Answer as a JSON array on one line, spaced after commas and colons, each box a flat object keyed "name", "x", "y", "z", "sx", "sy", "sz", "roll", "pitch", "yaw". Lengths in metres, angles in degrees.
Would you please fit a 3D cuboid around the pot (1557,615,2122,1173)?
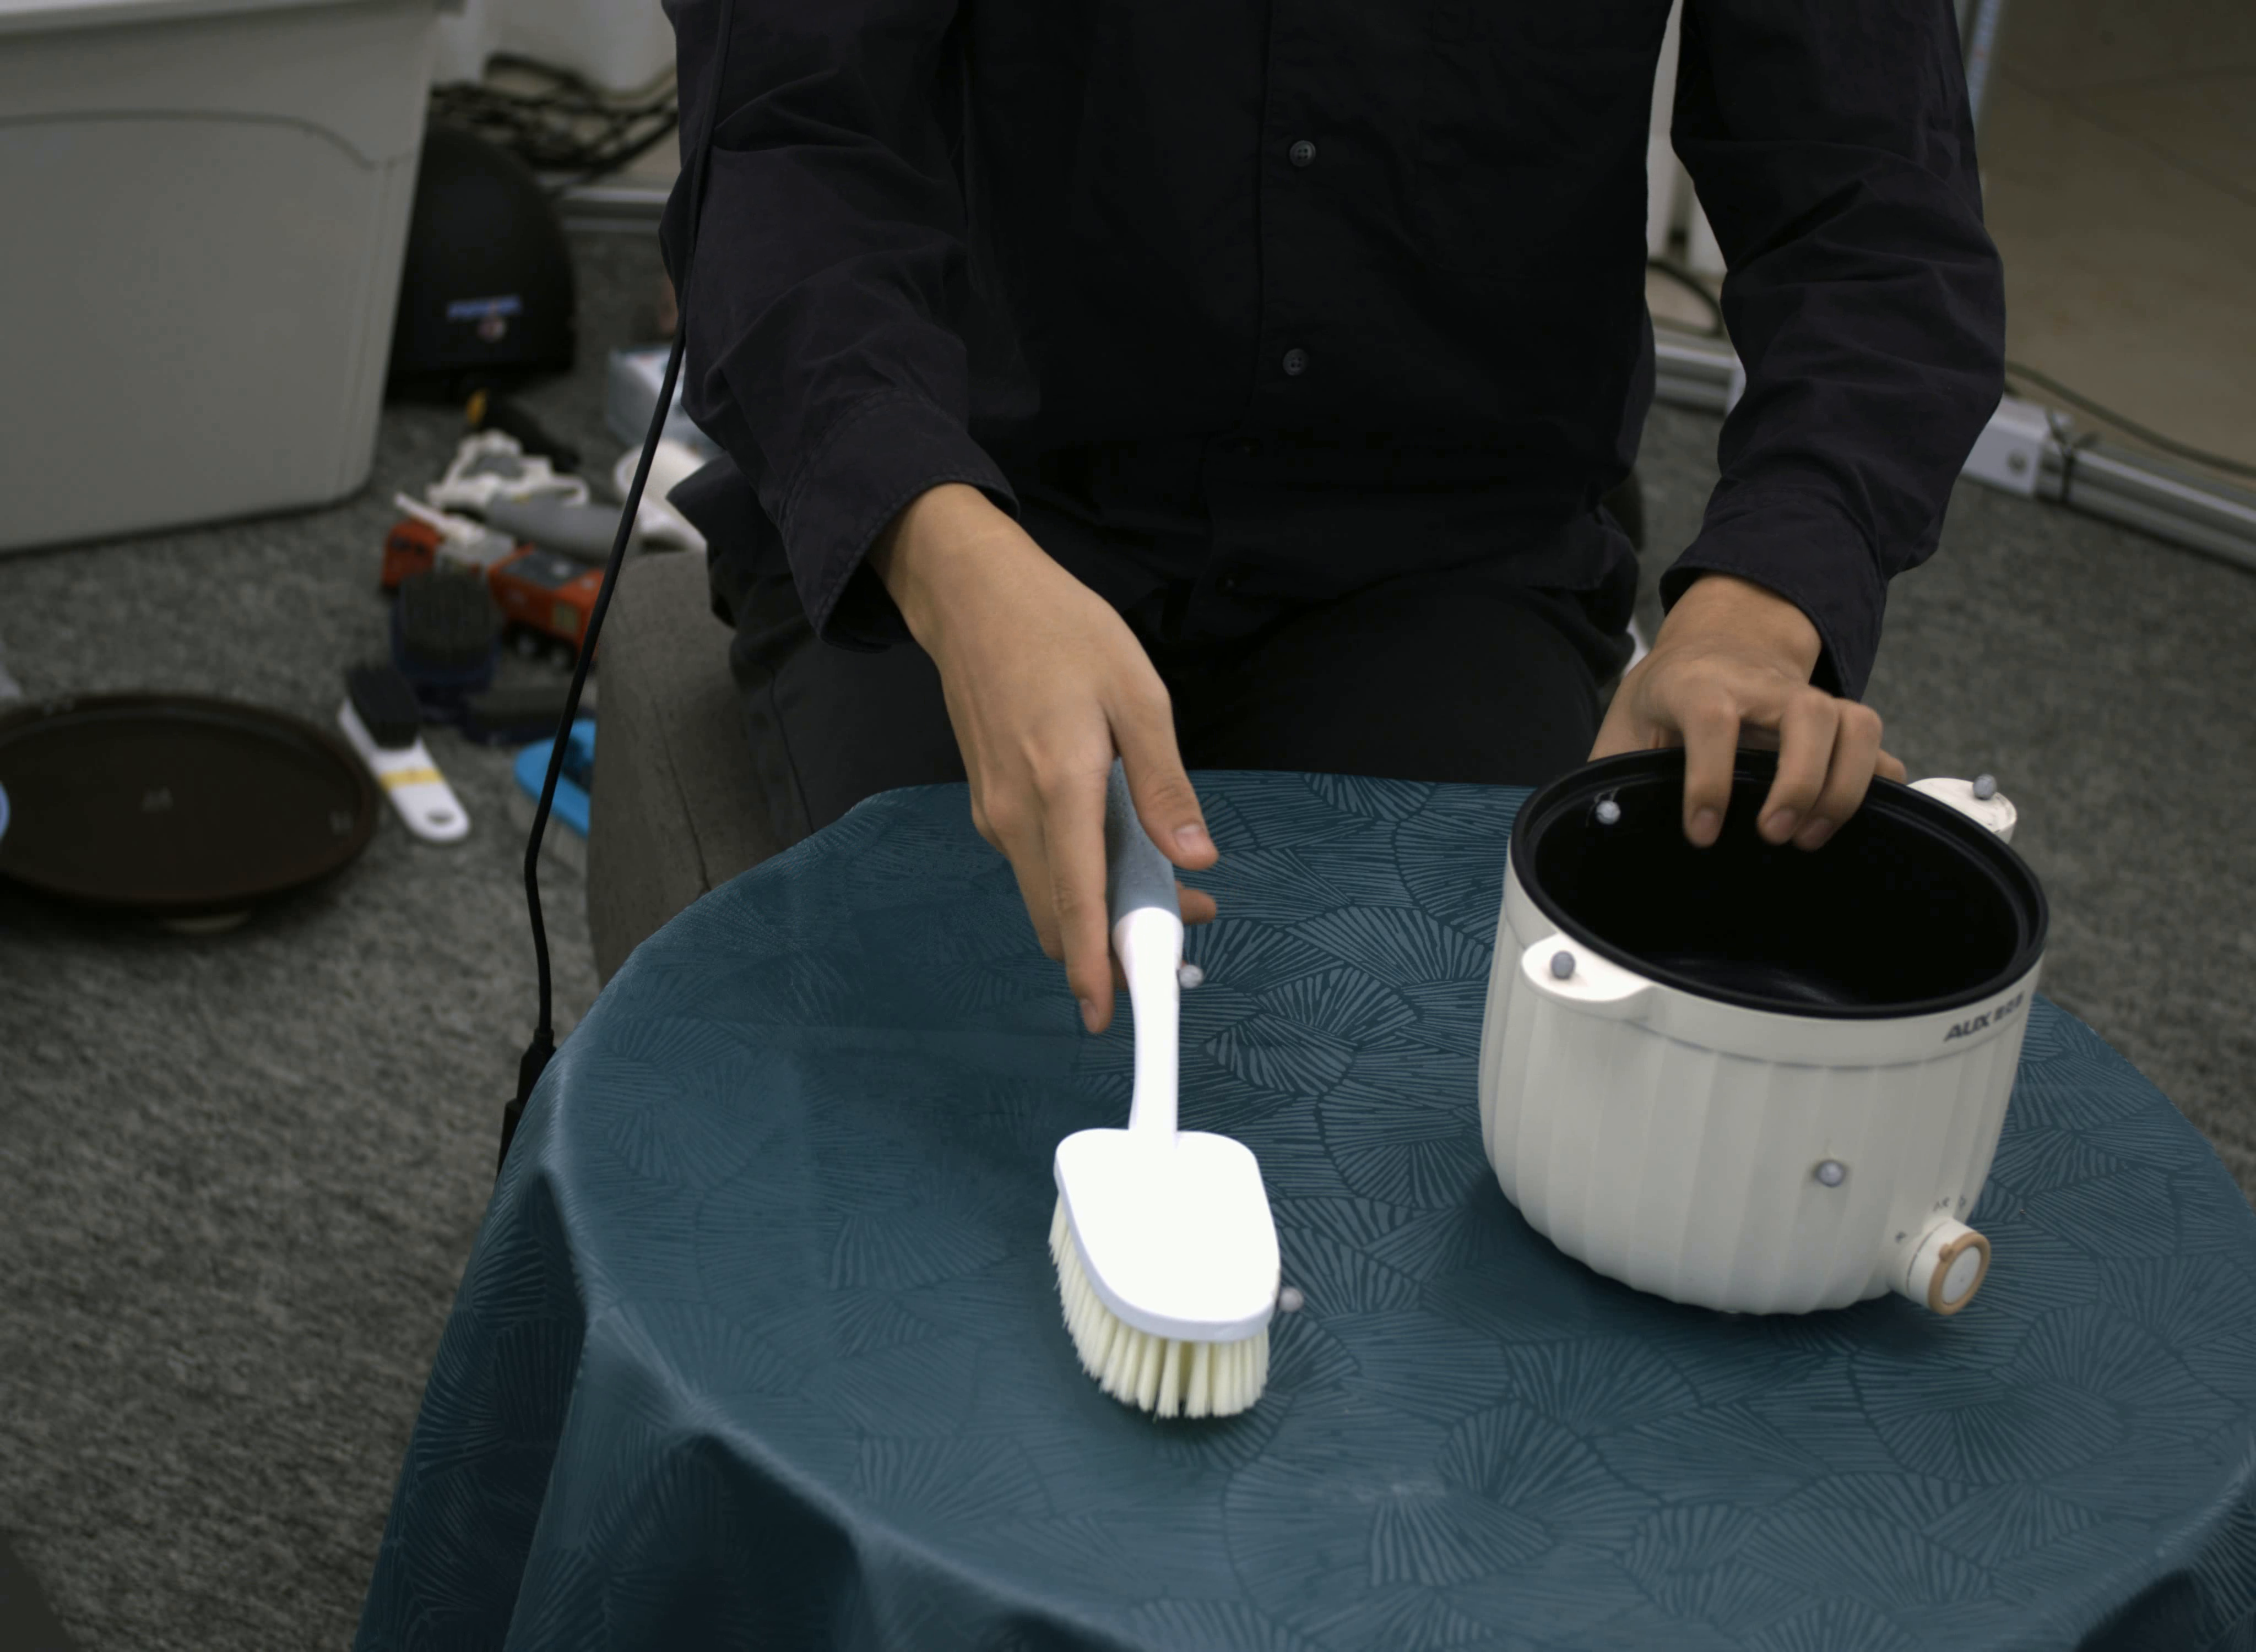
[{"name": "pot", "x": 0.242, "y": 0.030, "z": 1.819, "sx": 0.192, "sy": 0.142, "sz": 0.239, "roll": 26, "pitch": 34, "yaw": 37}]

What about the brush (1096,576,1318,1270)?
[{"name": "brush", "x": 0.022, "y": 0.041, "z": 1.820, "sx": 0.082, "sy": 0.084, "sz": 0.328, "roll": 34, "pitch": 28, "yaw": -30}]
